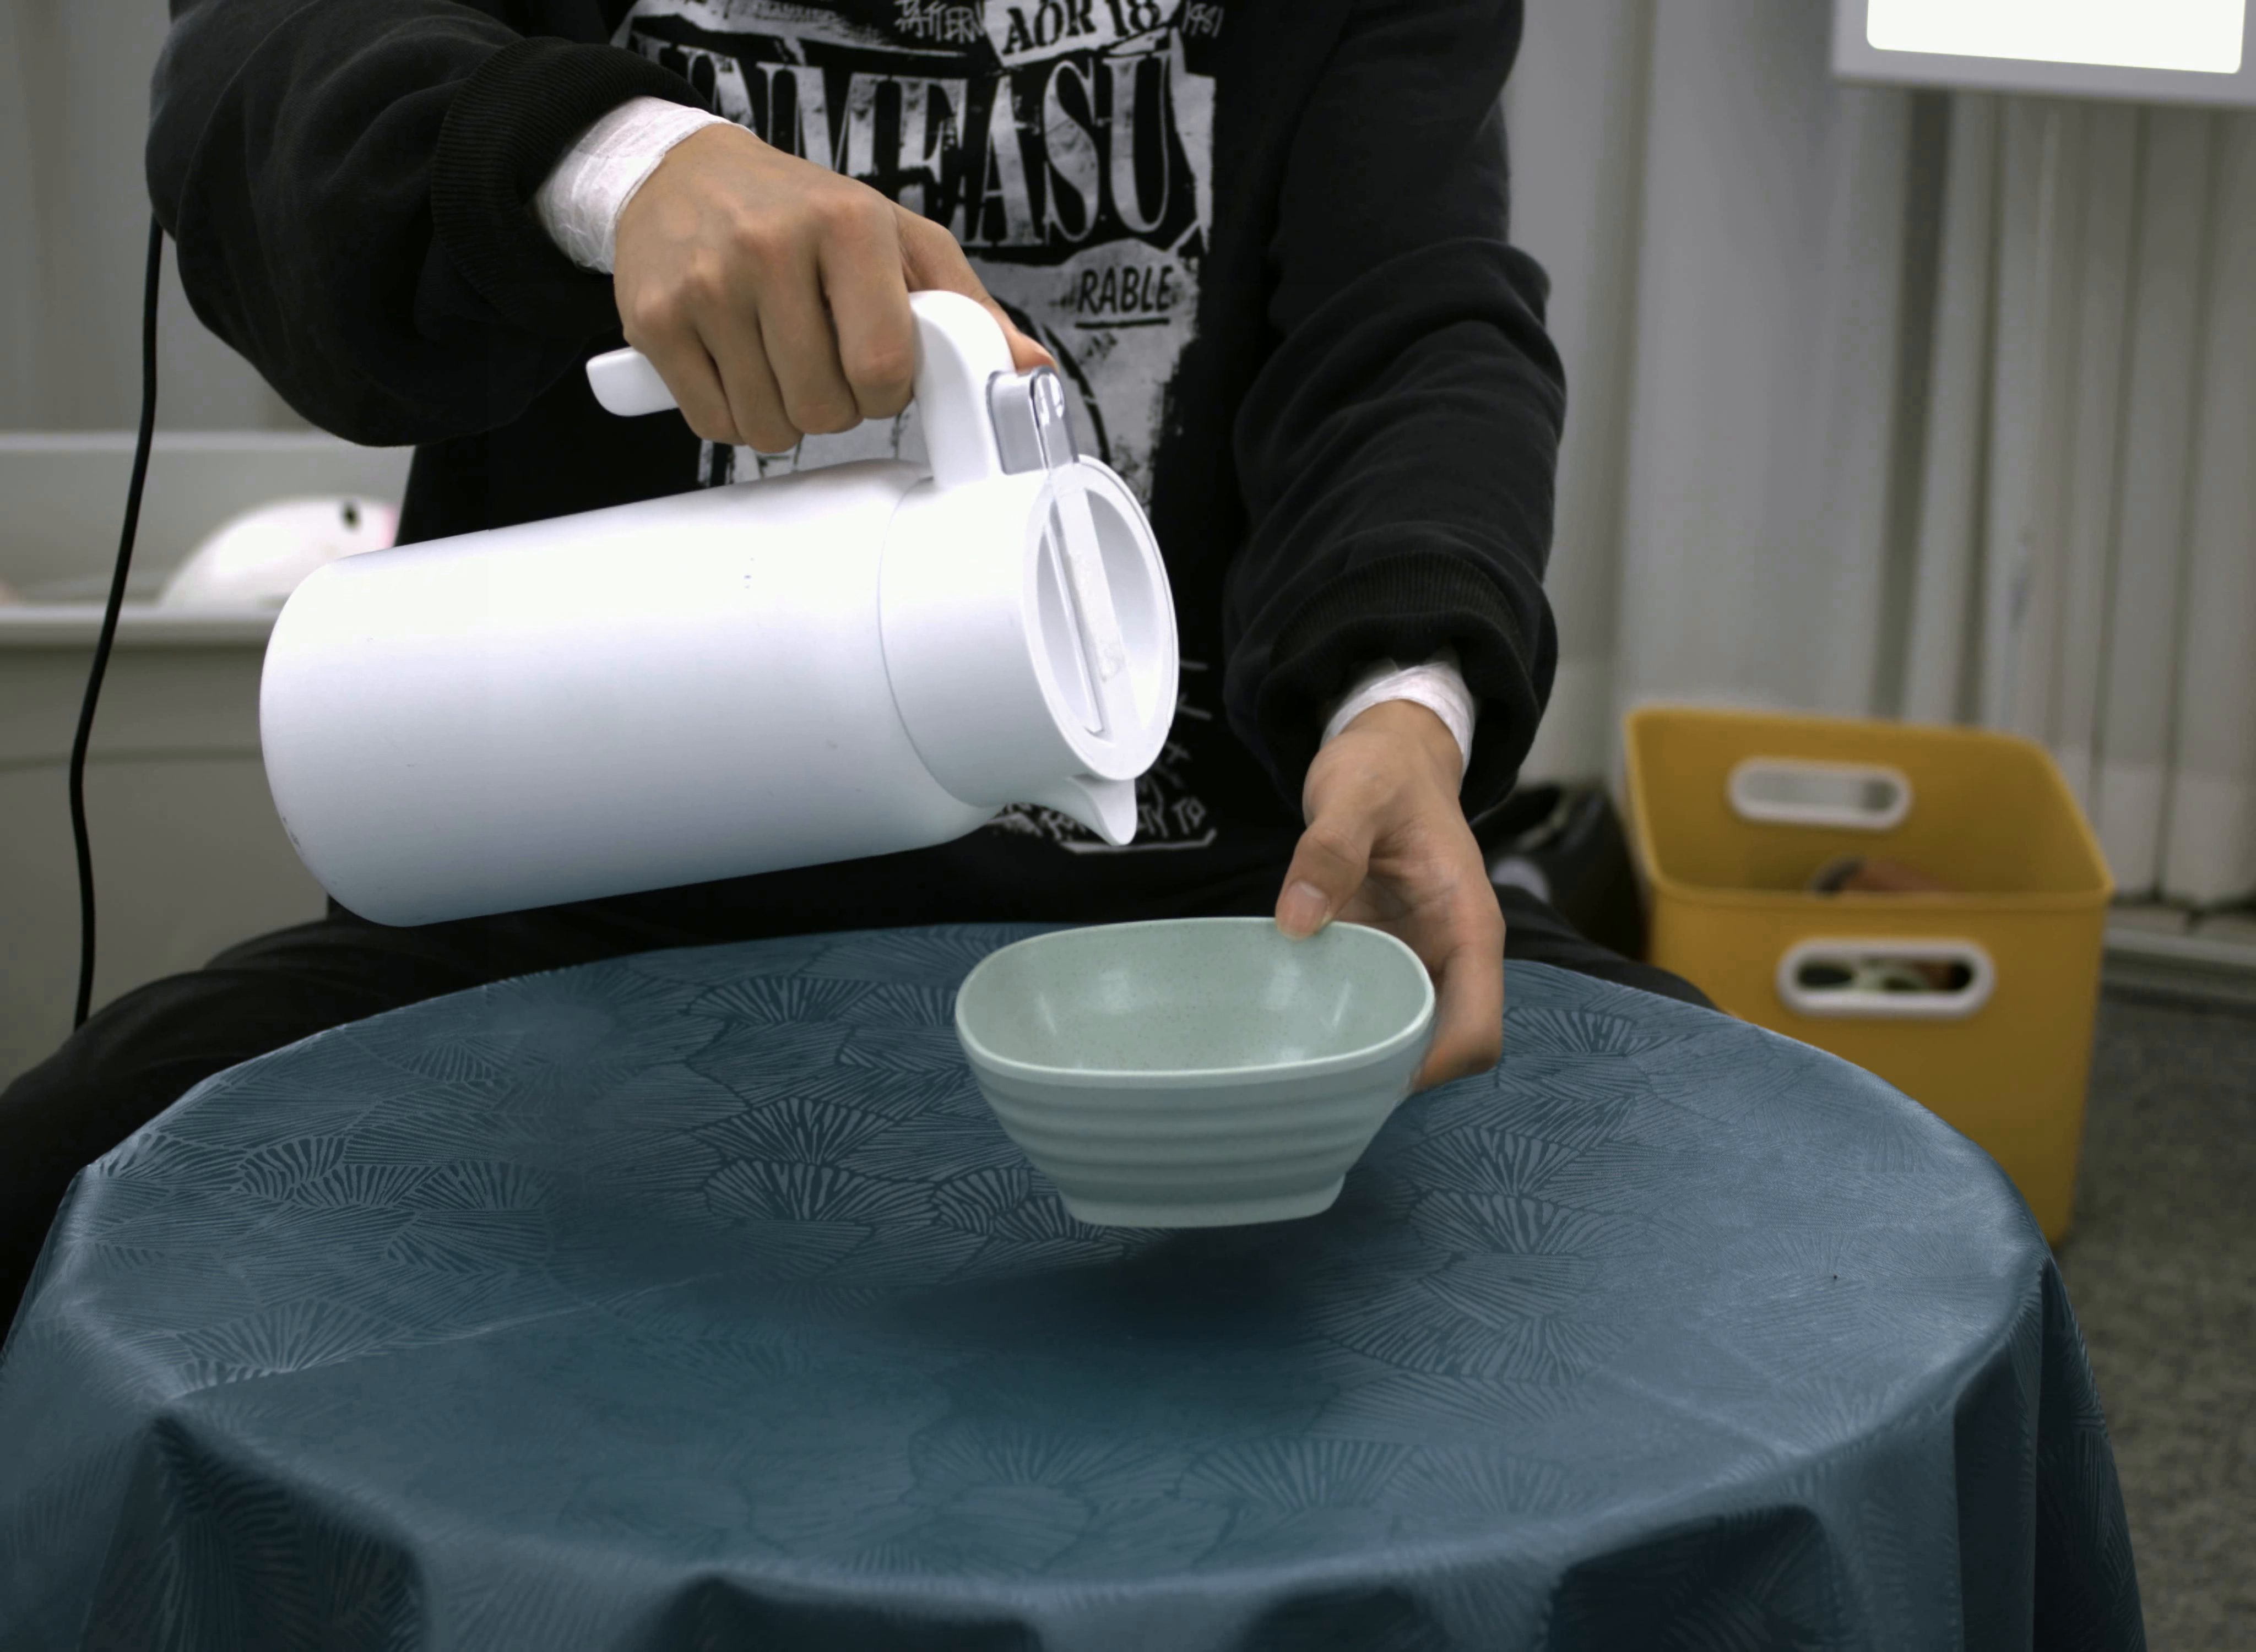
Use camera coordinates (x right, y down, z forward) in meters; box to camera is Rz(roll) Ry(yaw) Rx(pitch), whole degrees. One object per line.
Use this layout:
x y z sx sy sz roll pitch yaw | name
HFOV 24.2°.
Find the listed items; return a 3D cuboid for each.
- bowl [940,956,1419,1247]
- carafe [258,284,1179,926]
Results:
0.016 0.082 1.528 0.151 0.059 0.151 -3 12 1 | bowl
-0.128 -0.060 1.576 0.266 0.174 0.124 -9 13 28 | carafe
